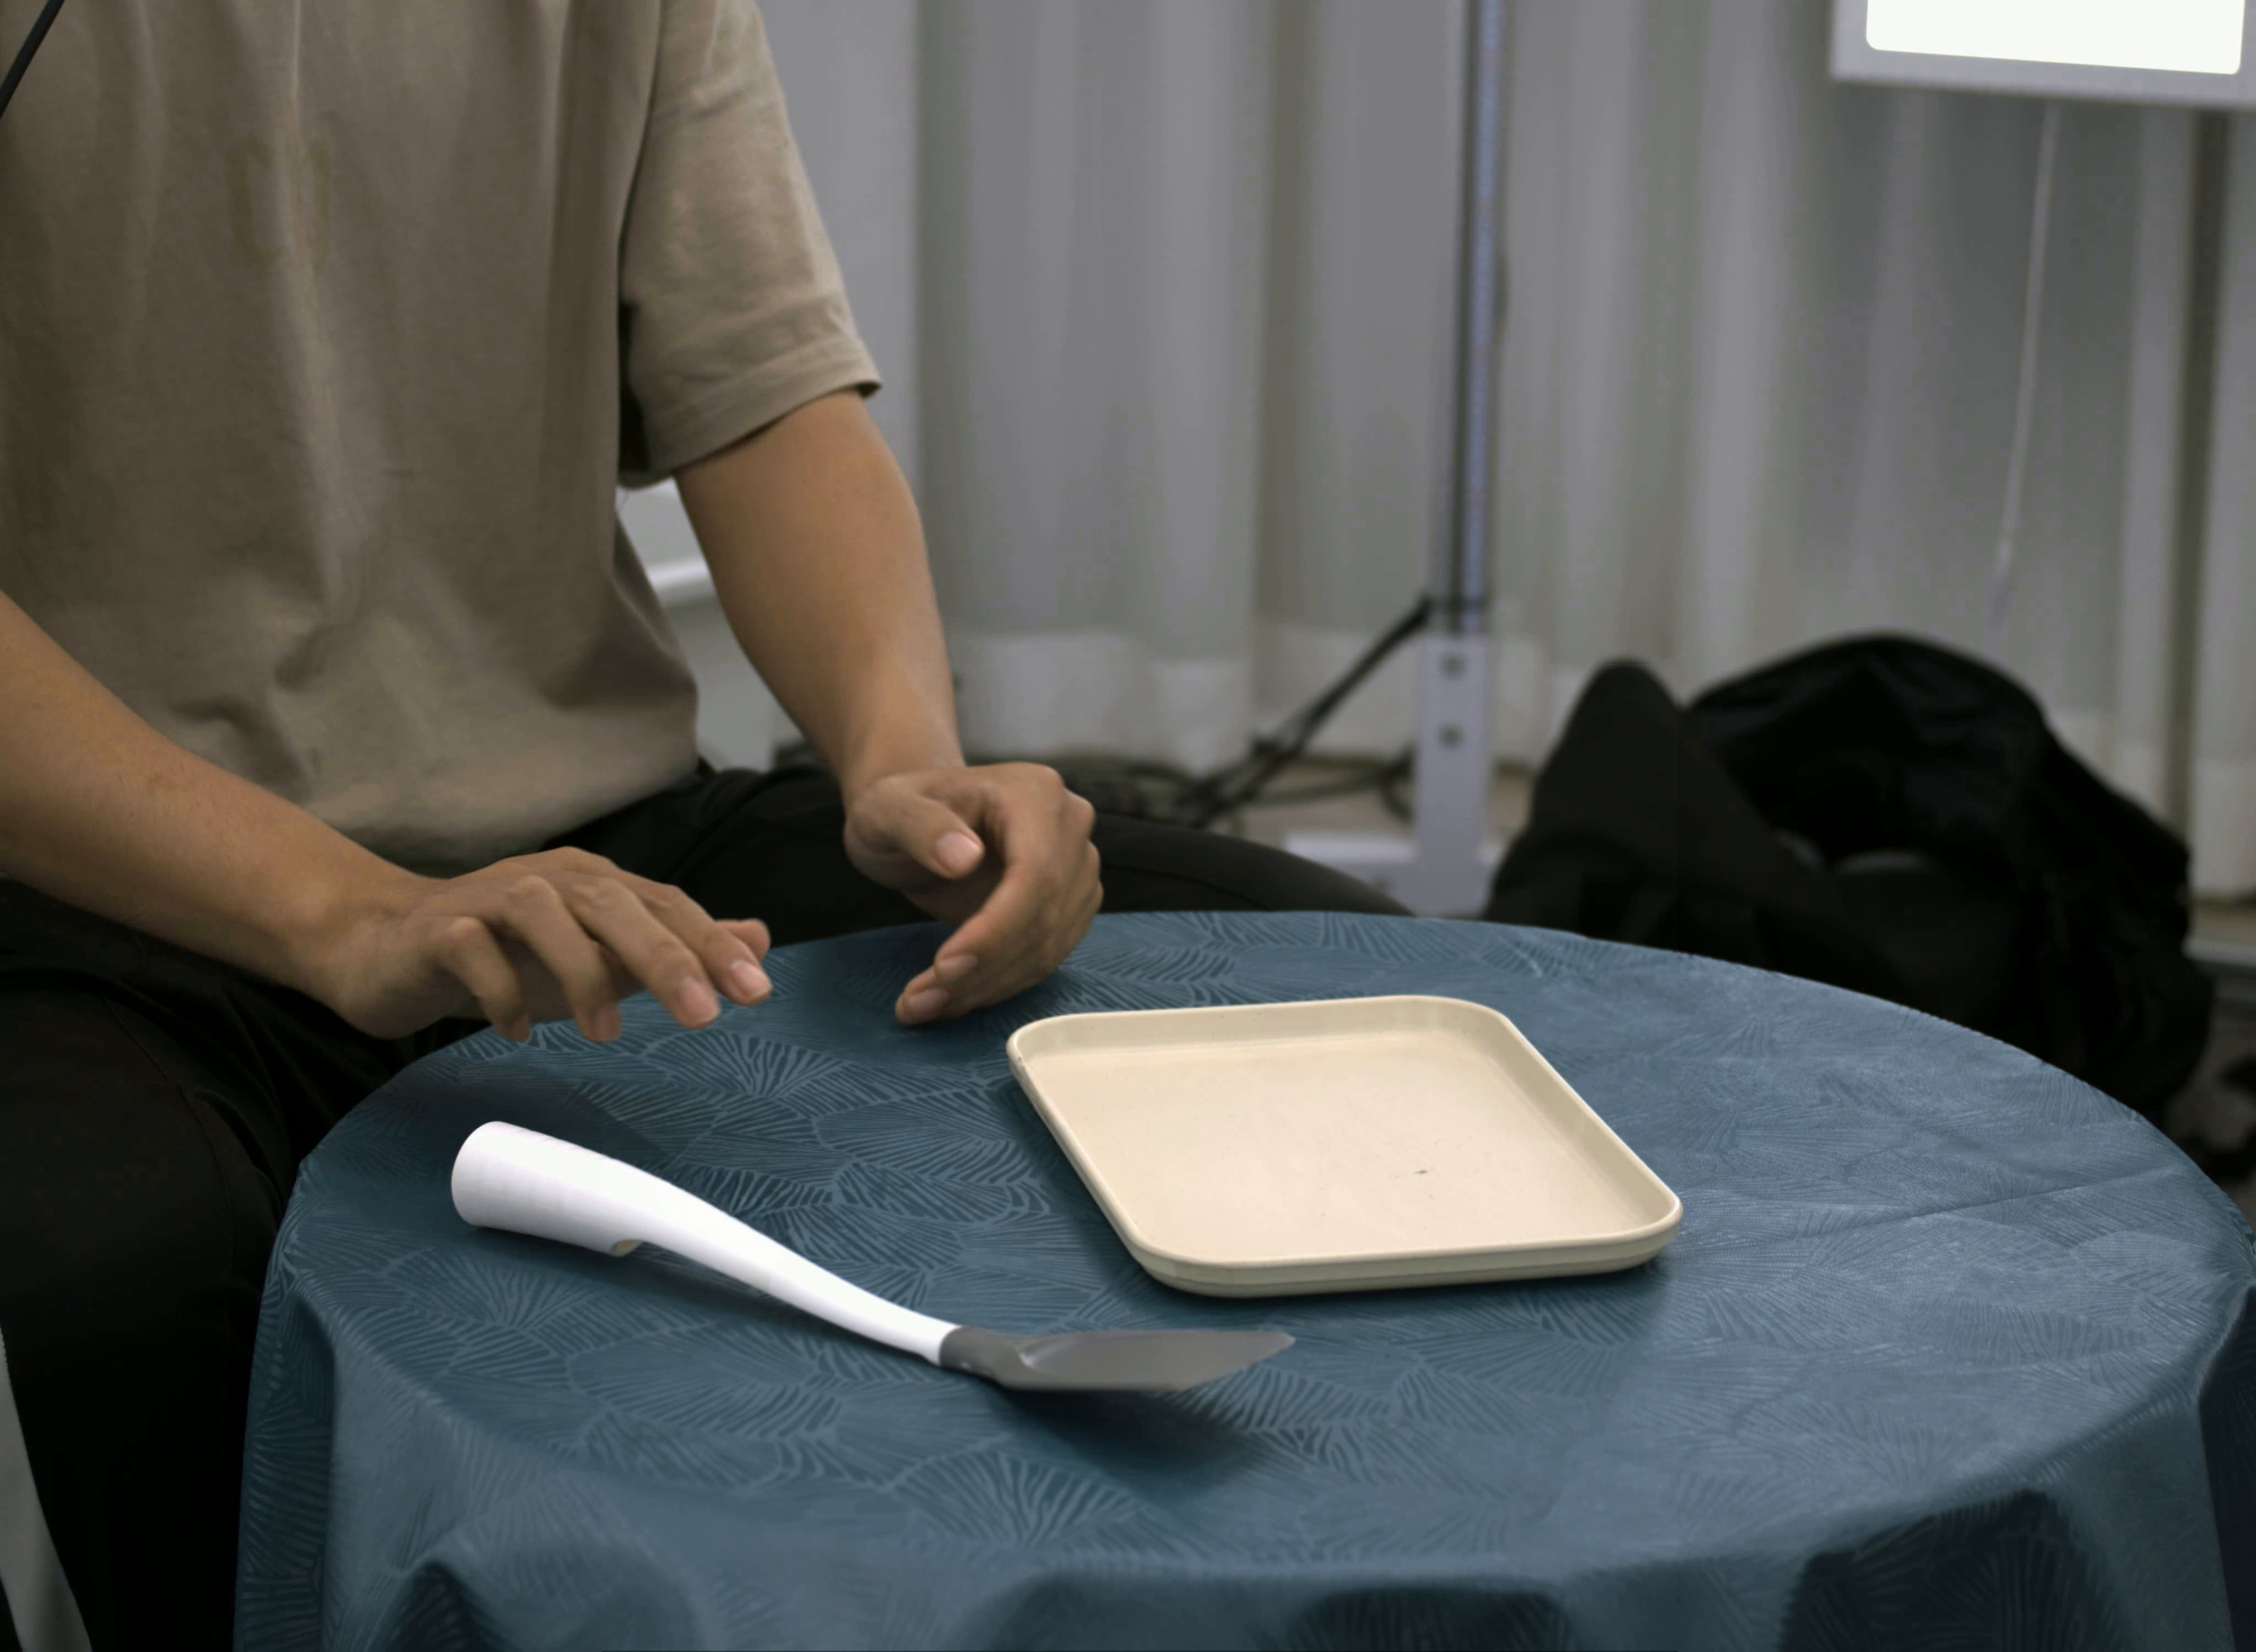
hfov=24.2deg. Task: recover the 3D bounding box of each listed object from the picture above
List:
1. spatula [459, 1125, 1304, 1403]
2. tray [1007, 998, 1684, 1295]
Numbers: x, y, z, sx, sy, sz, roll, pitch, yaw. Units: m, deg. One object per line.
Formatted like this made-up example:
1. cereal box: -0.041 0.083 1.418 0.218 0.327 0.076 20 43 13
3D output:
1. spatula: -0.077 0.130 1.496 0.284 0.032 0.059 13 16 35
2. tray: 0.063 0.099 1.645 0.171 0.017 0.237 -2 16 -13
